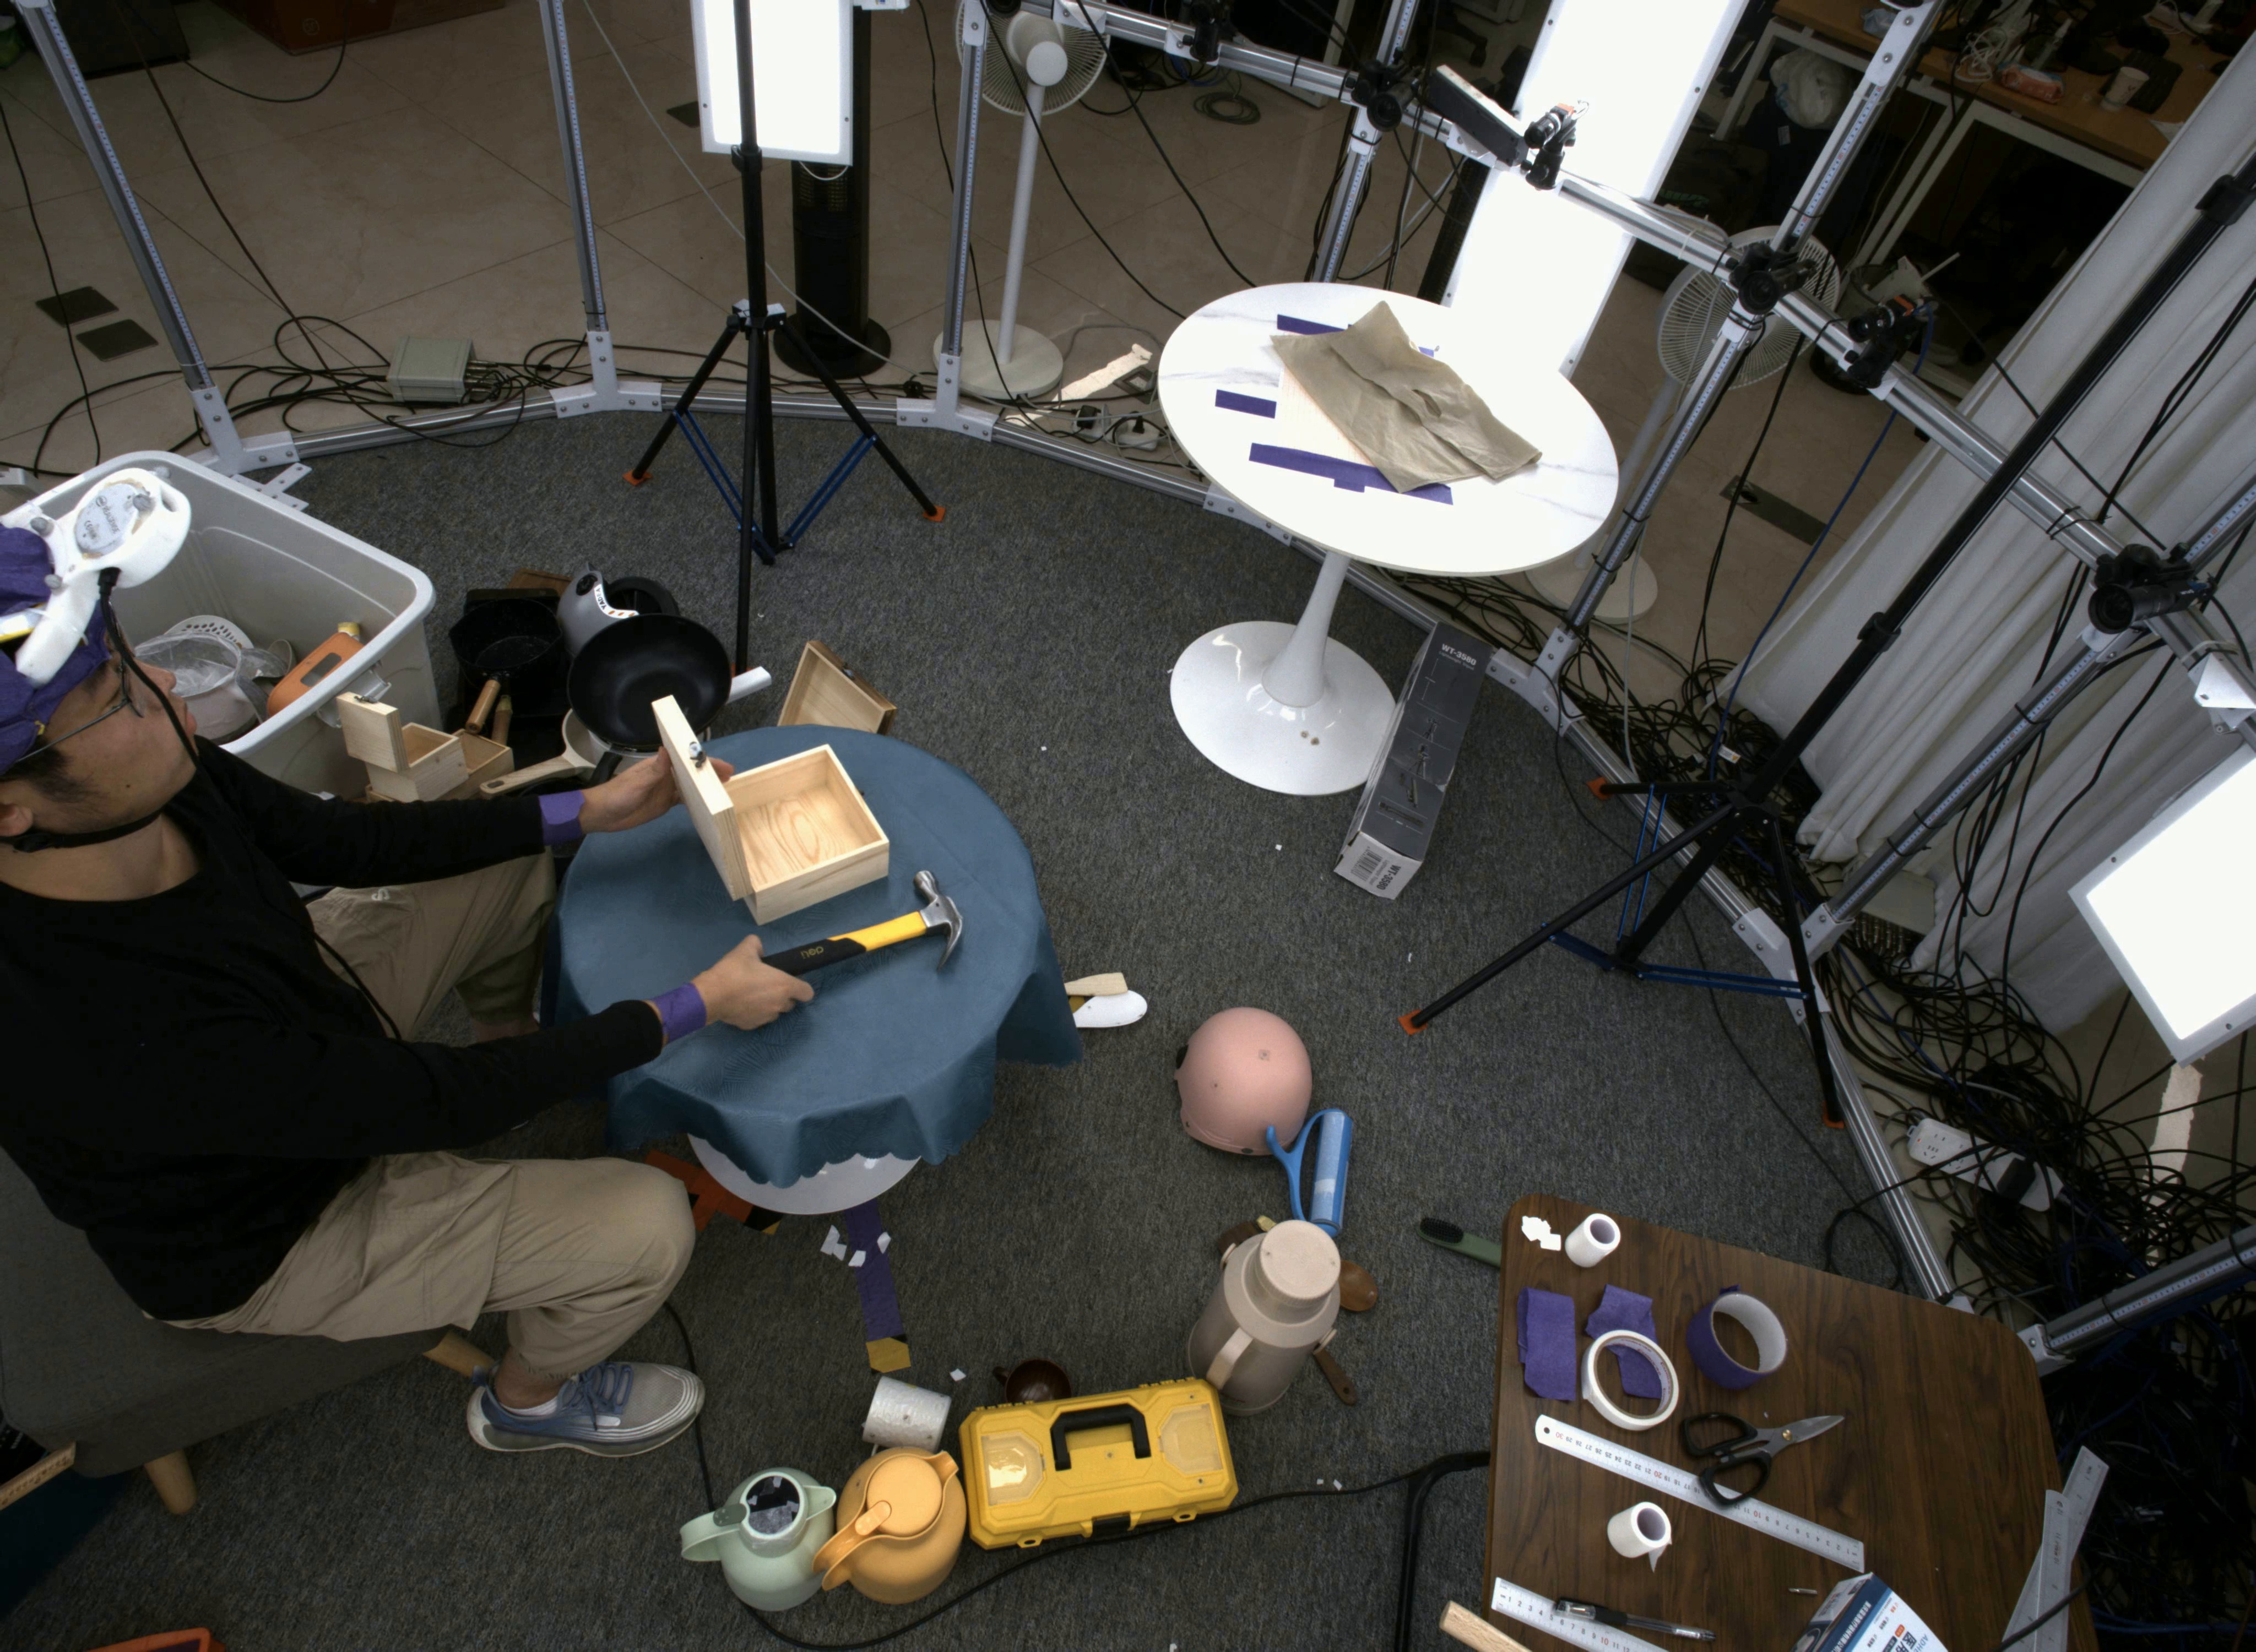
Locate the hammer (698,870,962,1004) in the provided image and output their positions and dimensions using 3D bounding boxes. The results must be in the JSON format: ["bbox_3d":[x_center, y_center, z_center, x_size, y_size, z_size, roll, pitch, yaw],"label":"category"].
[{"bbox_3d":[-0.357,0.147,1.581,0.342,0.033,0.128,-15,59,-34],"label":"hammer"}]

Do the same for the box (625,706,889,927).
[{"bbox_3d":[-0.444,-0.036,1.582,0.266,0.258,0.177,-24,63,-28],"label":"box"}]
